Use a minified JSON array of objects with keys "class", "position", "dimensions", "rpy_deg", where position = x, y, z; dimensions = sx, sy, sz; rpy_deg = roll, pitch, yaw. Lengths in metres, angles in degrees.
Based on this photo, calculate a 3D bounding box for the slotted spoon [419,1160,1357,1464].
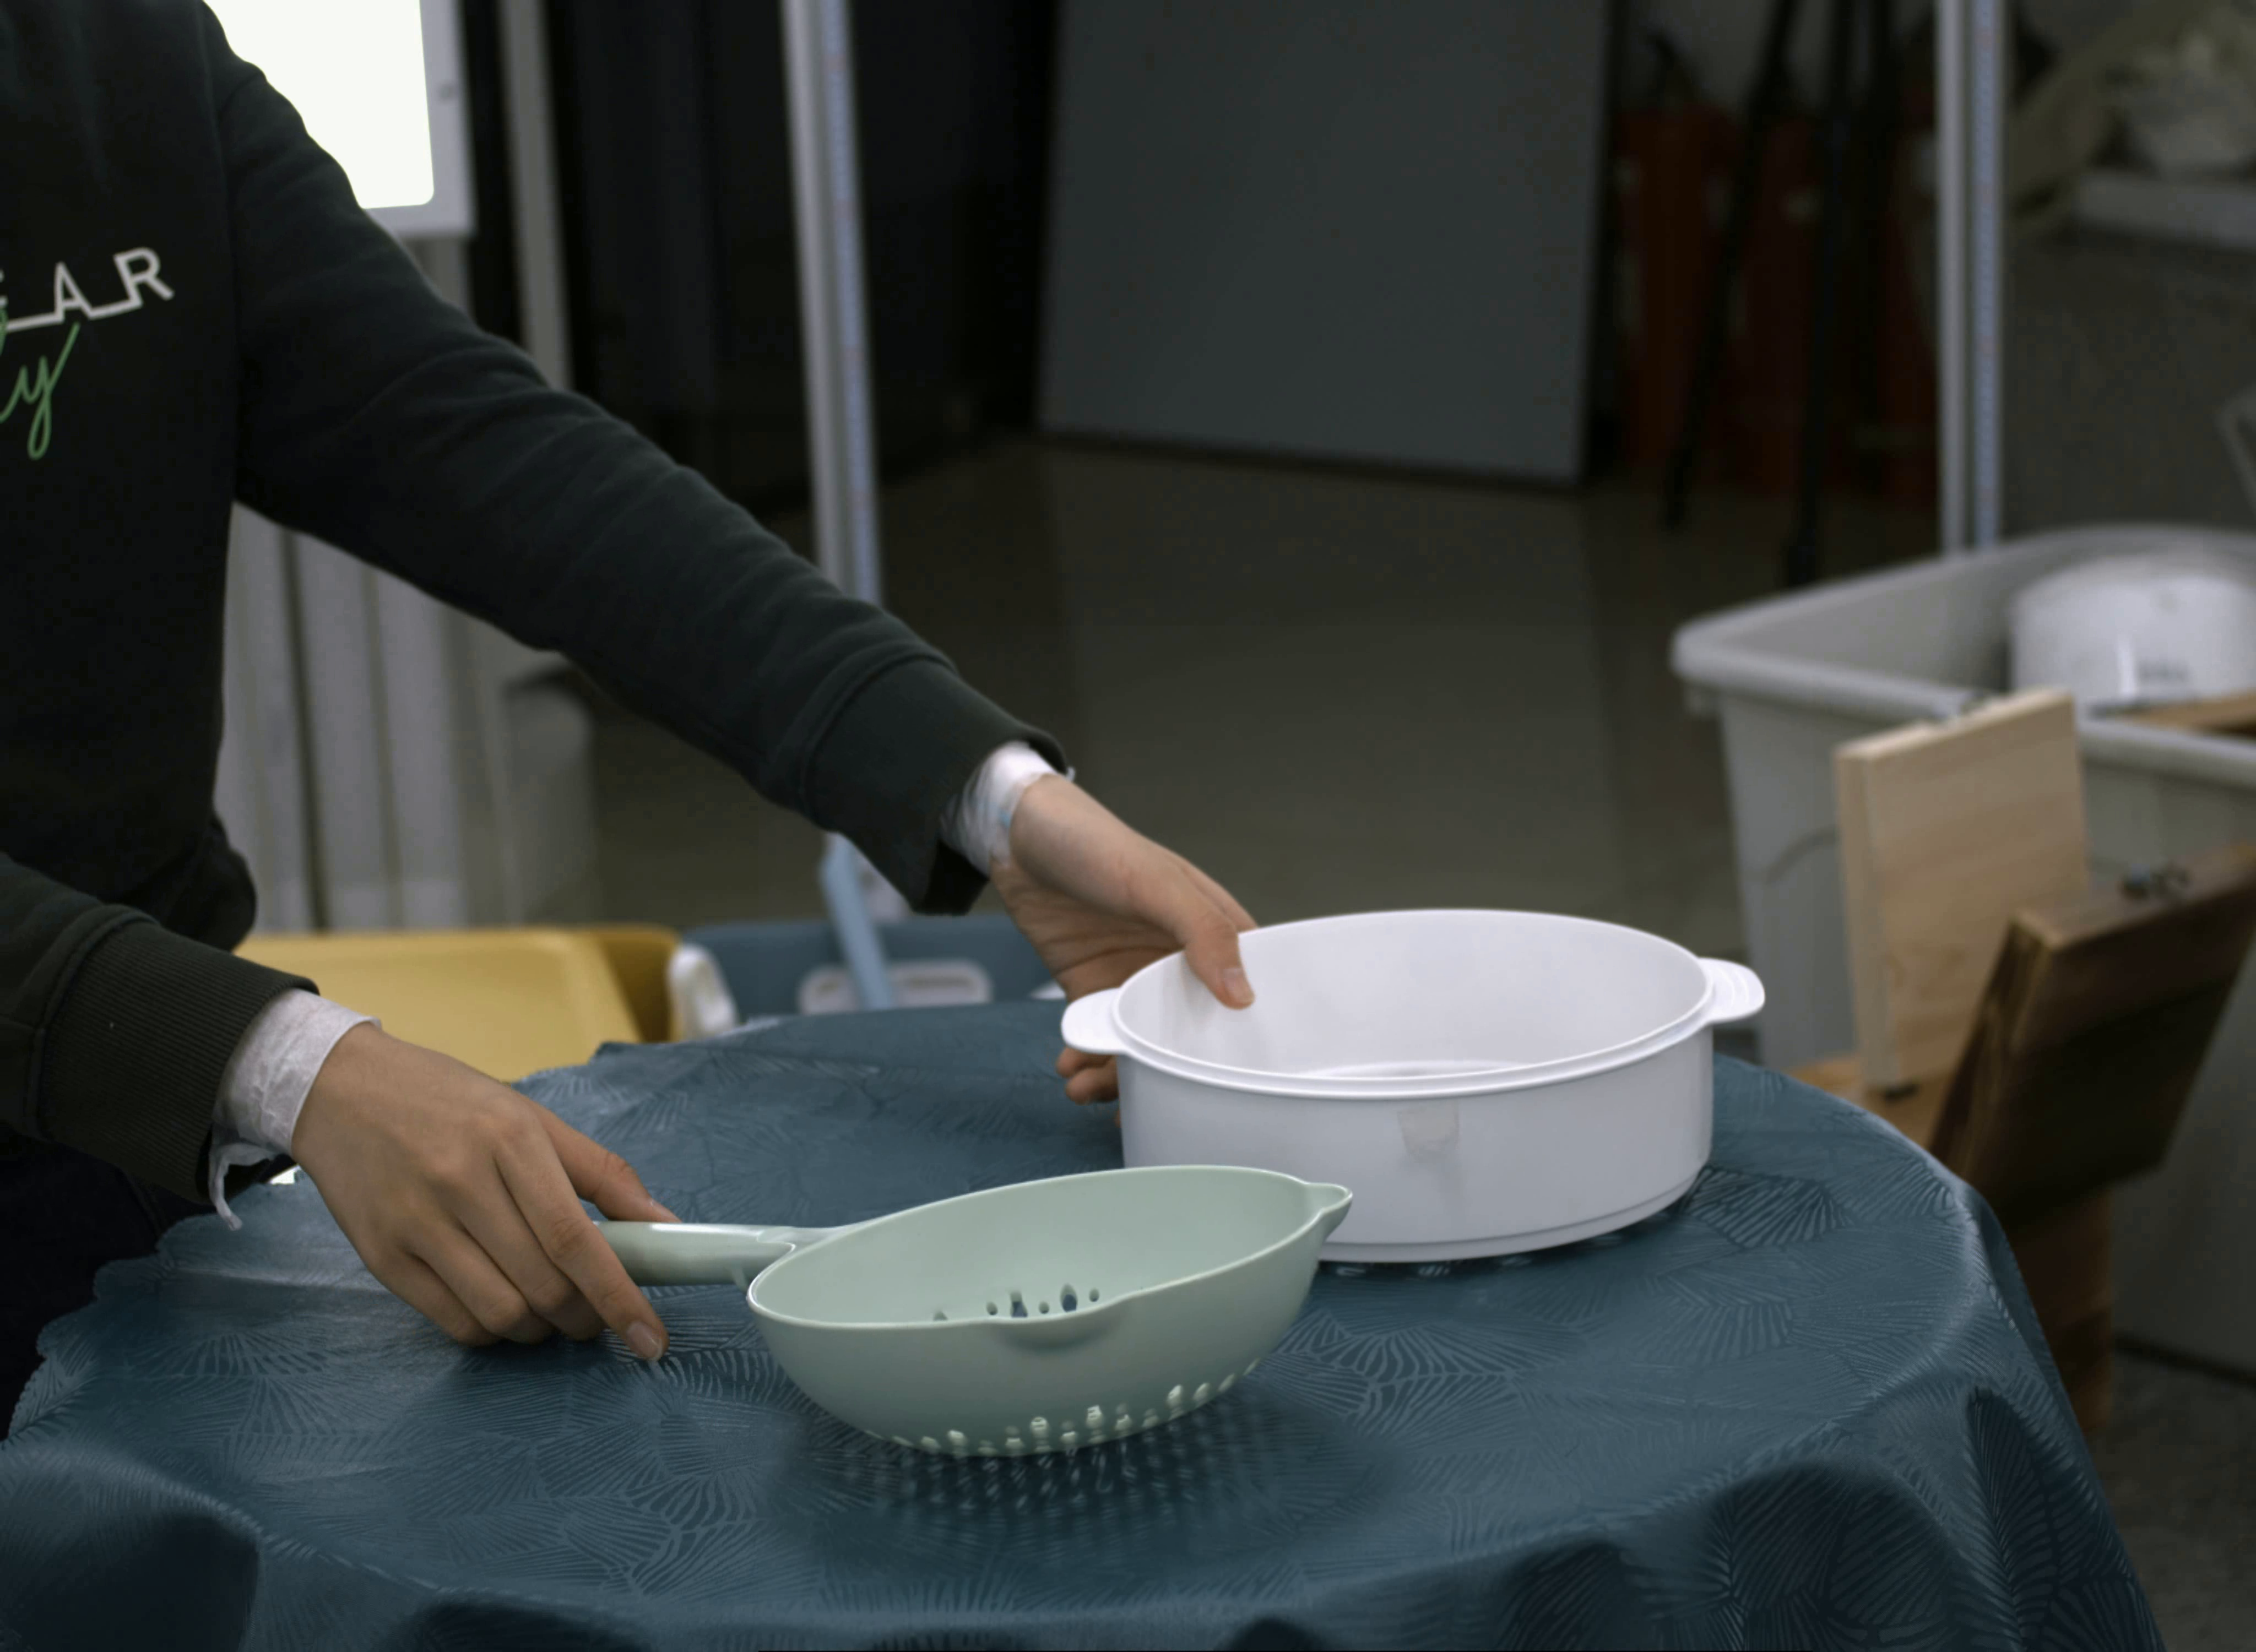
[{"class":"slotted spoon","position":[-0.094,0.134,1.612],"dimensions":[0.362,0.076,0.166],"rpy_deg":[9,18,42]}]

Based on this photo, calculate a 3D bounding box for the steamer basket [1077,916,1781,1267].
[{"class":"steamer basket","position":[0.099,0.086,1.749],"dimensions":[0.228,0.070,0.202],"rpy_deg":[-4,13,2]}]
